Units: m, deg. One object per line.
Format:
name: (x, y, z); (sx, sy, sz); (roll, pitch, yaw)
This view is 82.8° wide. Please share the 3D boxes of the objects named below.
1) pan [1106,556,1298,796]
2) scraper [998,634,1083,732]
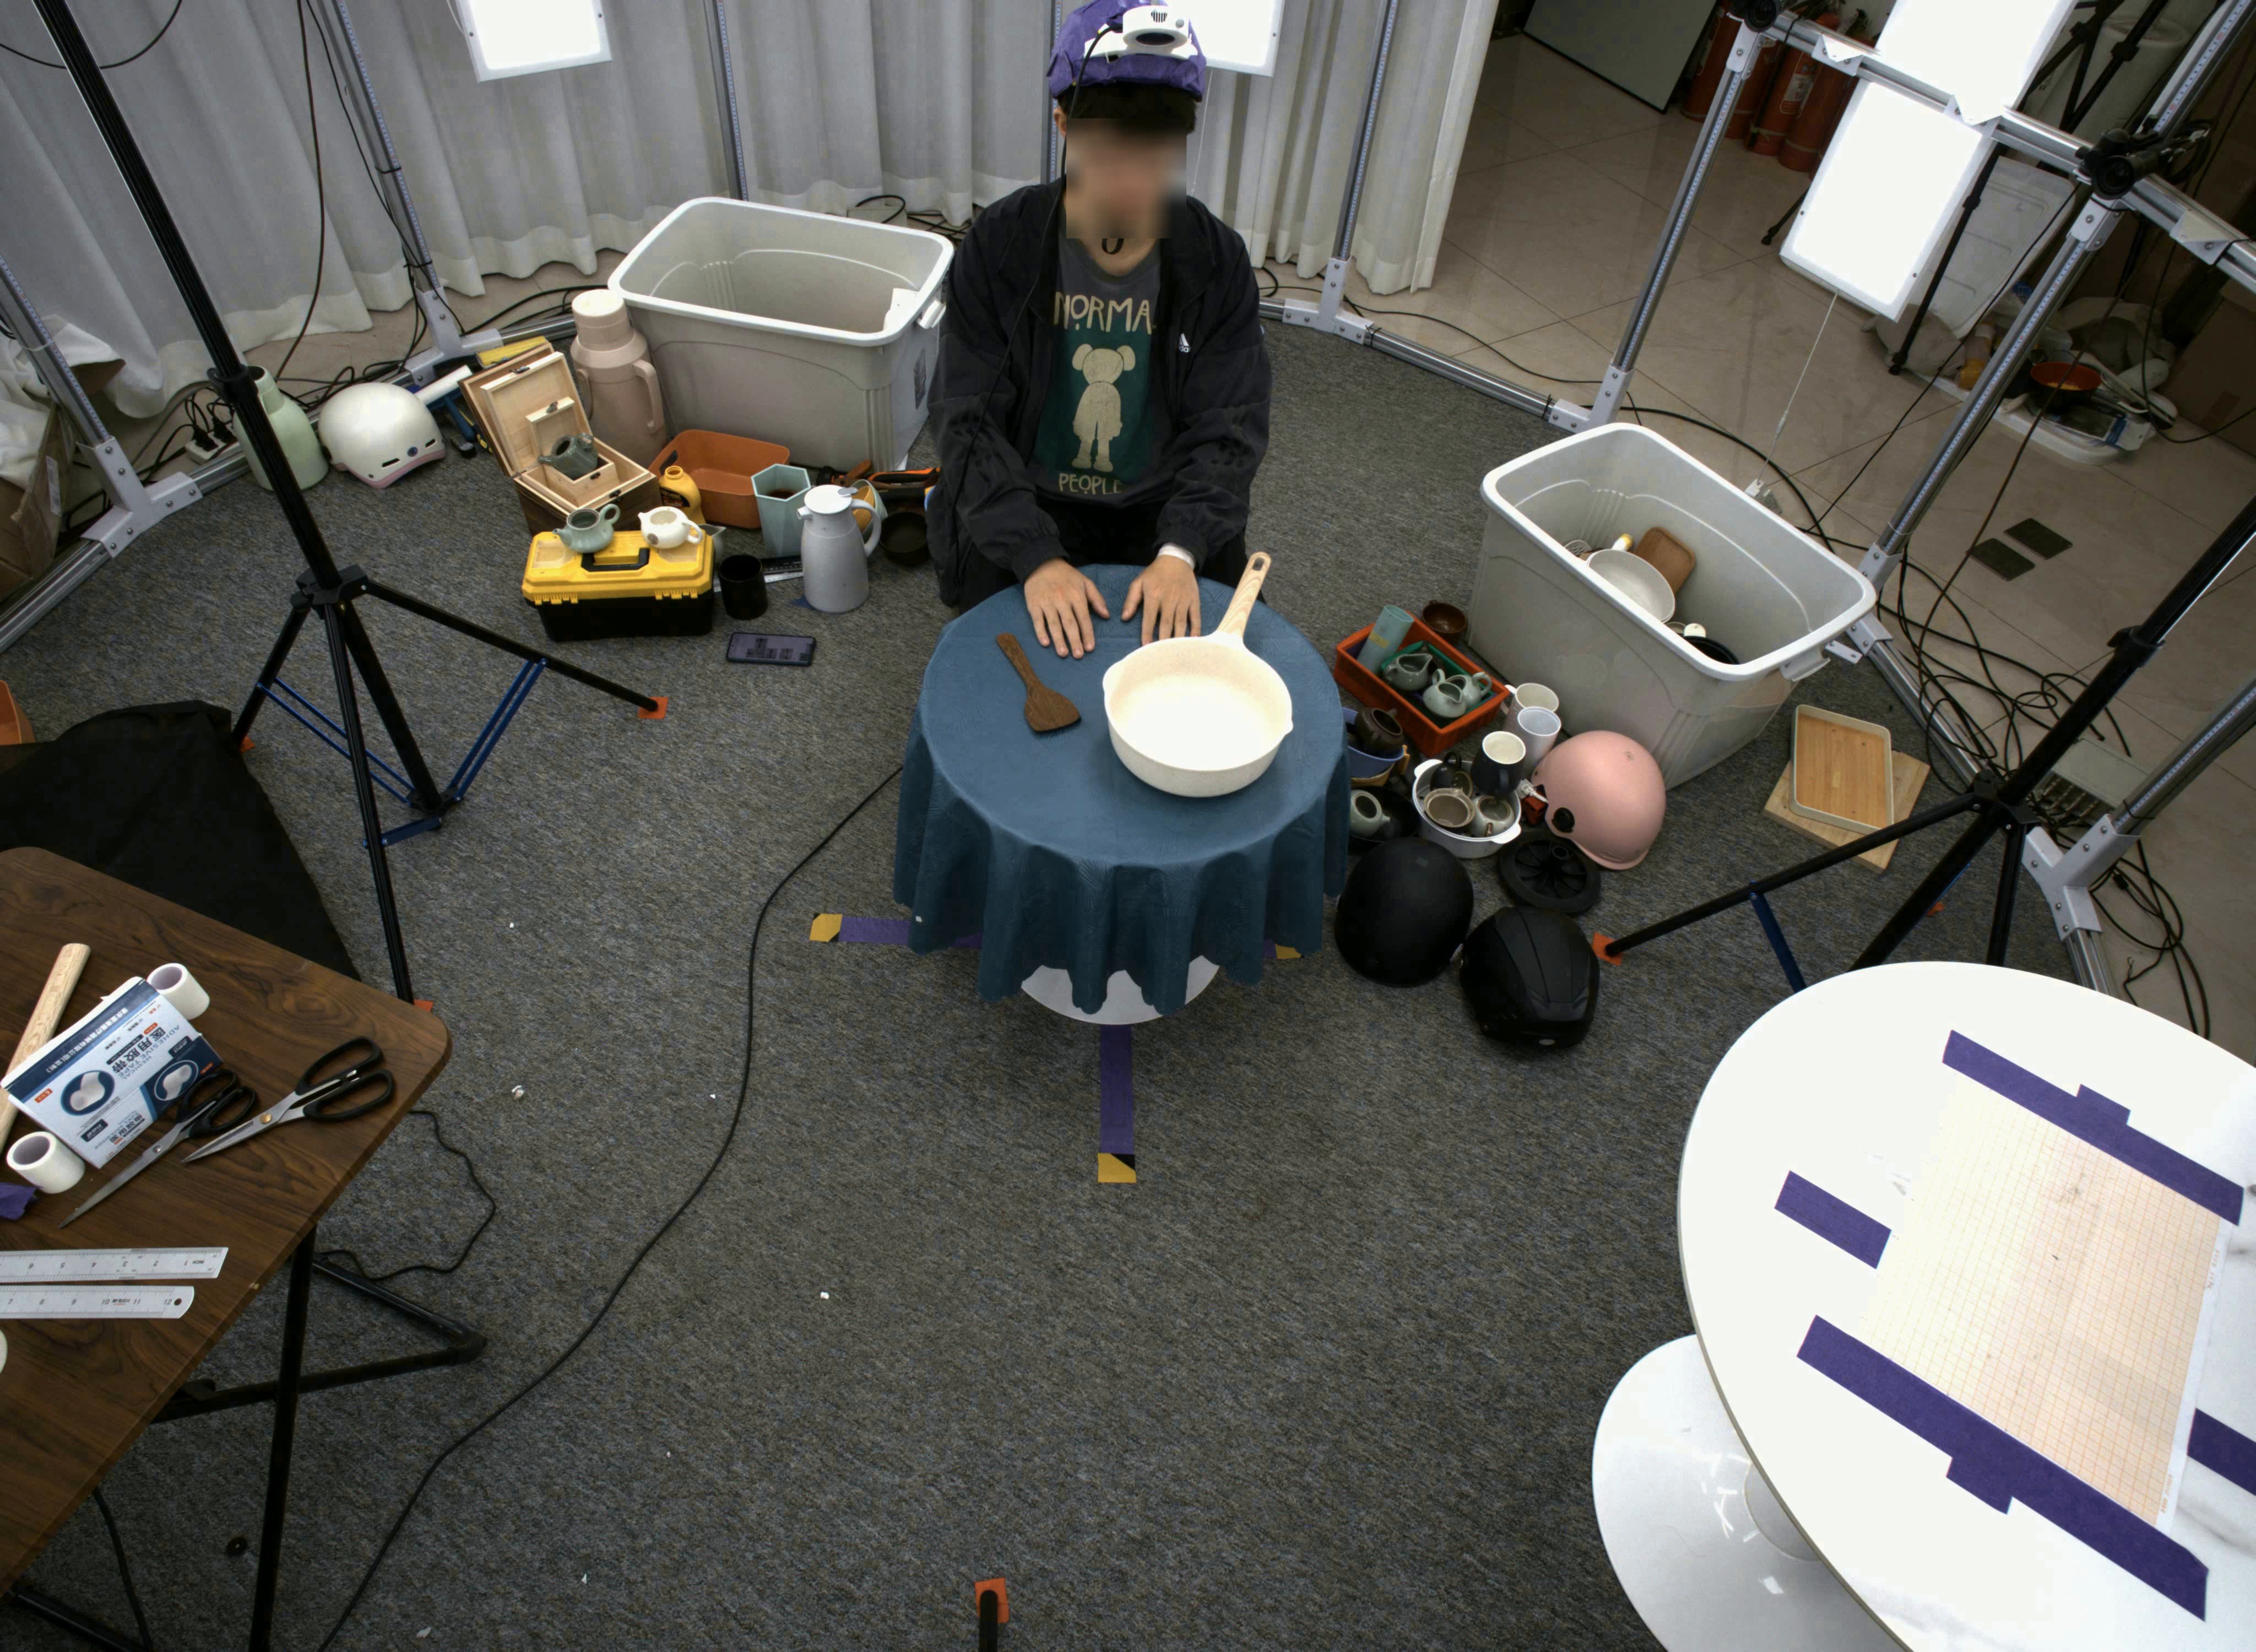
pan: (0.127, -0.212, 1.795); (0.264, 0.099, 0.444); (15, 49, 12)
scraper: (-0.137, -0.208, 1.834); (0.076, 0.010, 0.216); (-17, 51, -19)
